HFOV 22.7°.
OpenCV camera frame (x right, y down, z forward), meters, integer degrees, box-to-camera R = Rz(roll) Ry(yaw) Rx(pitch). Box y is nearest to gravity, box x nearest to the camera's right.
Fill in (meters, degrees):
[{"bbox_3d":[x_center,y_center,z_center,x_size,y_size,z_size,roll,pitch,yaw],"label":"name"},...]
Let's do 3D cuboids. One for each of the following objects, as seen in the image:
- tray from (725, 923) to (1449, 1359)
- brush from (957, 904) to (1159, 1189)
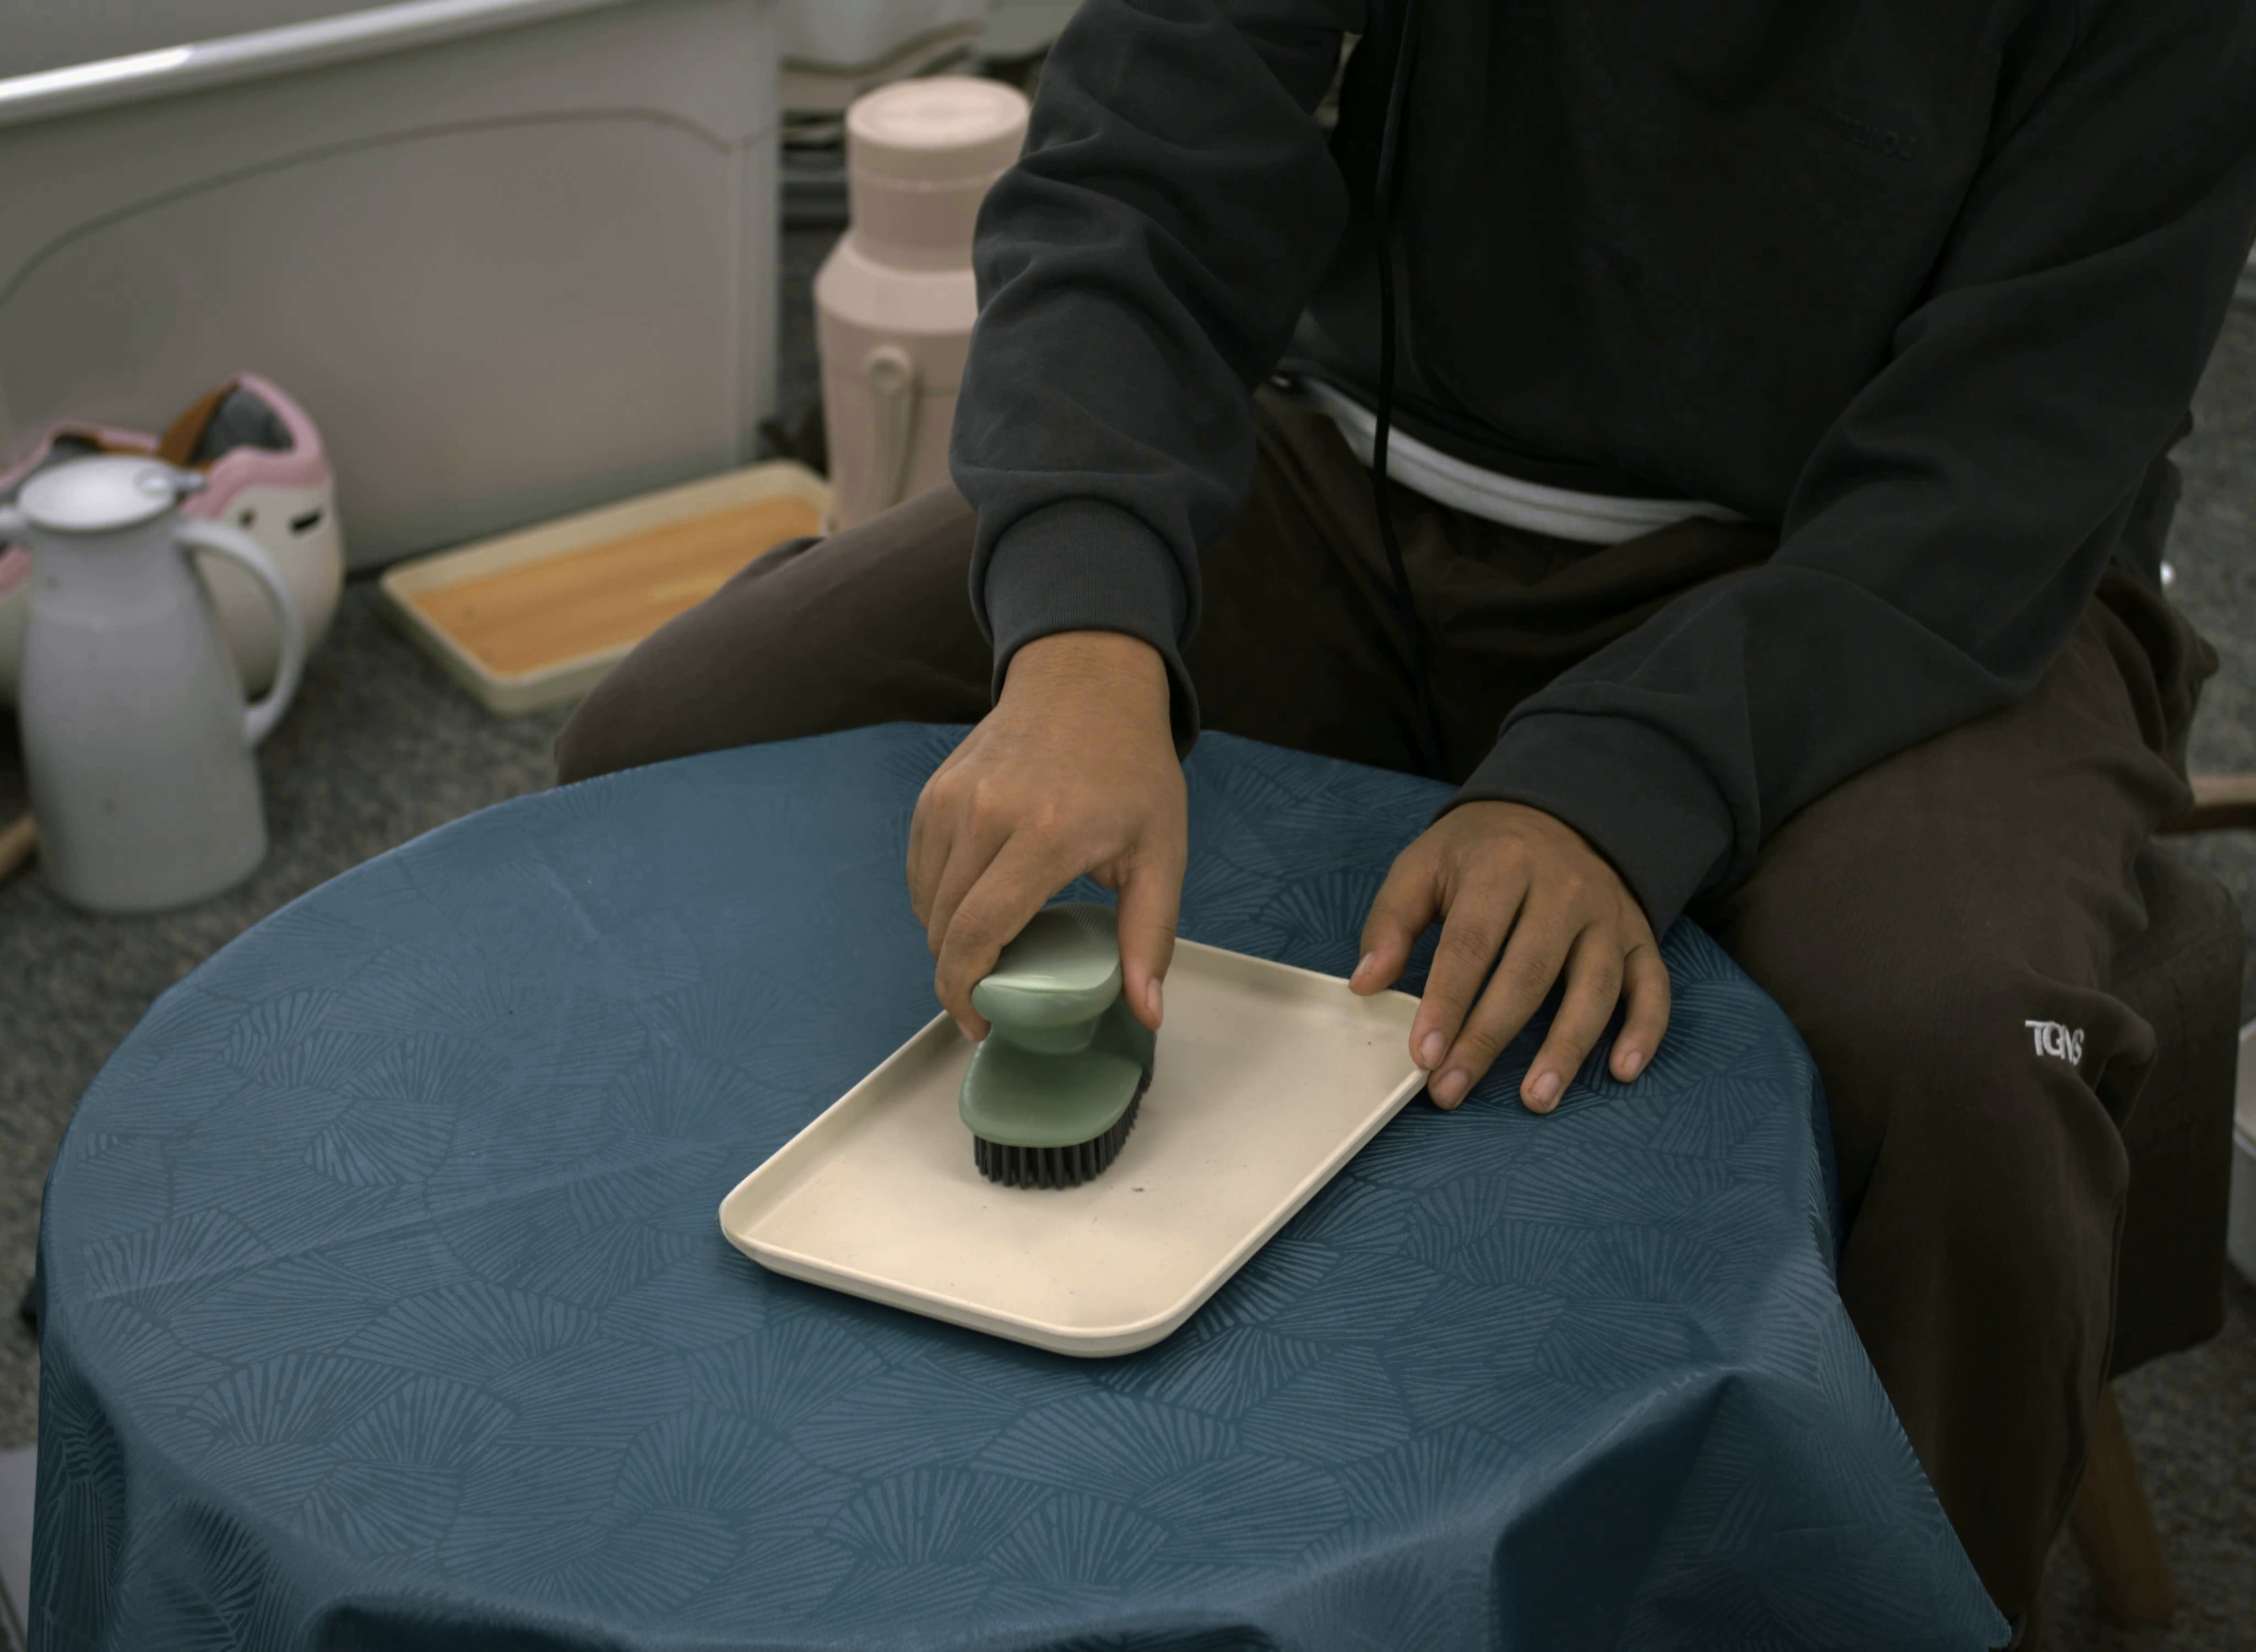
[{"bbox_3d":[-0.011,0.103,1.881,0.170,0.017,0.243,13,31,27],"label":"tray"},{"bbox_3d":[-0.024,0.073,1.899,0.059,0.075,0.124,3,14,9],"label":"brush"}]
